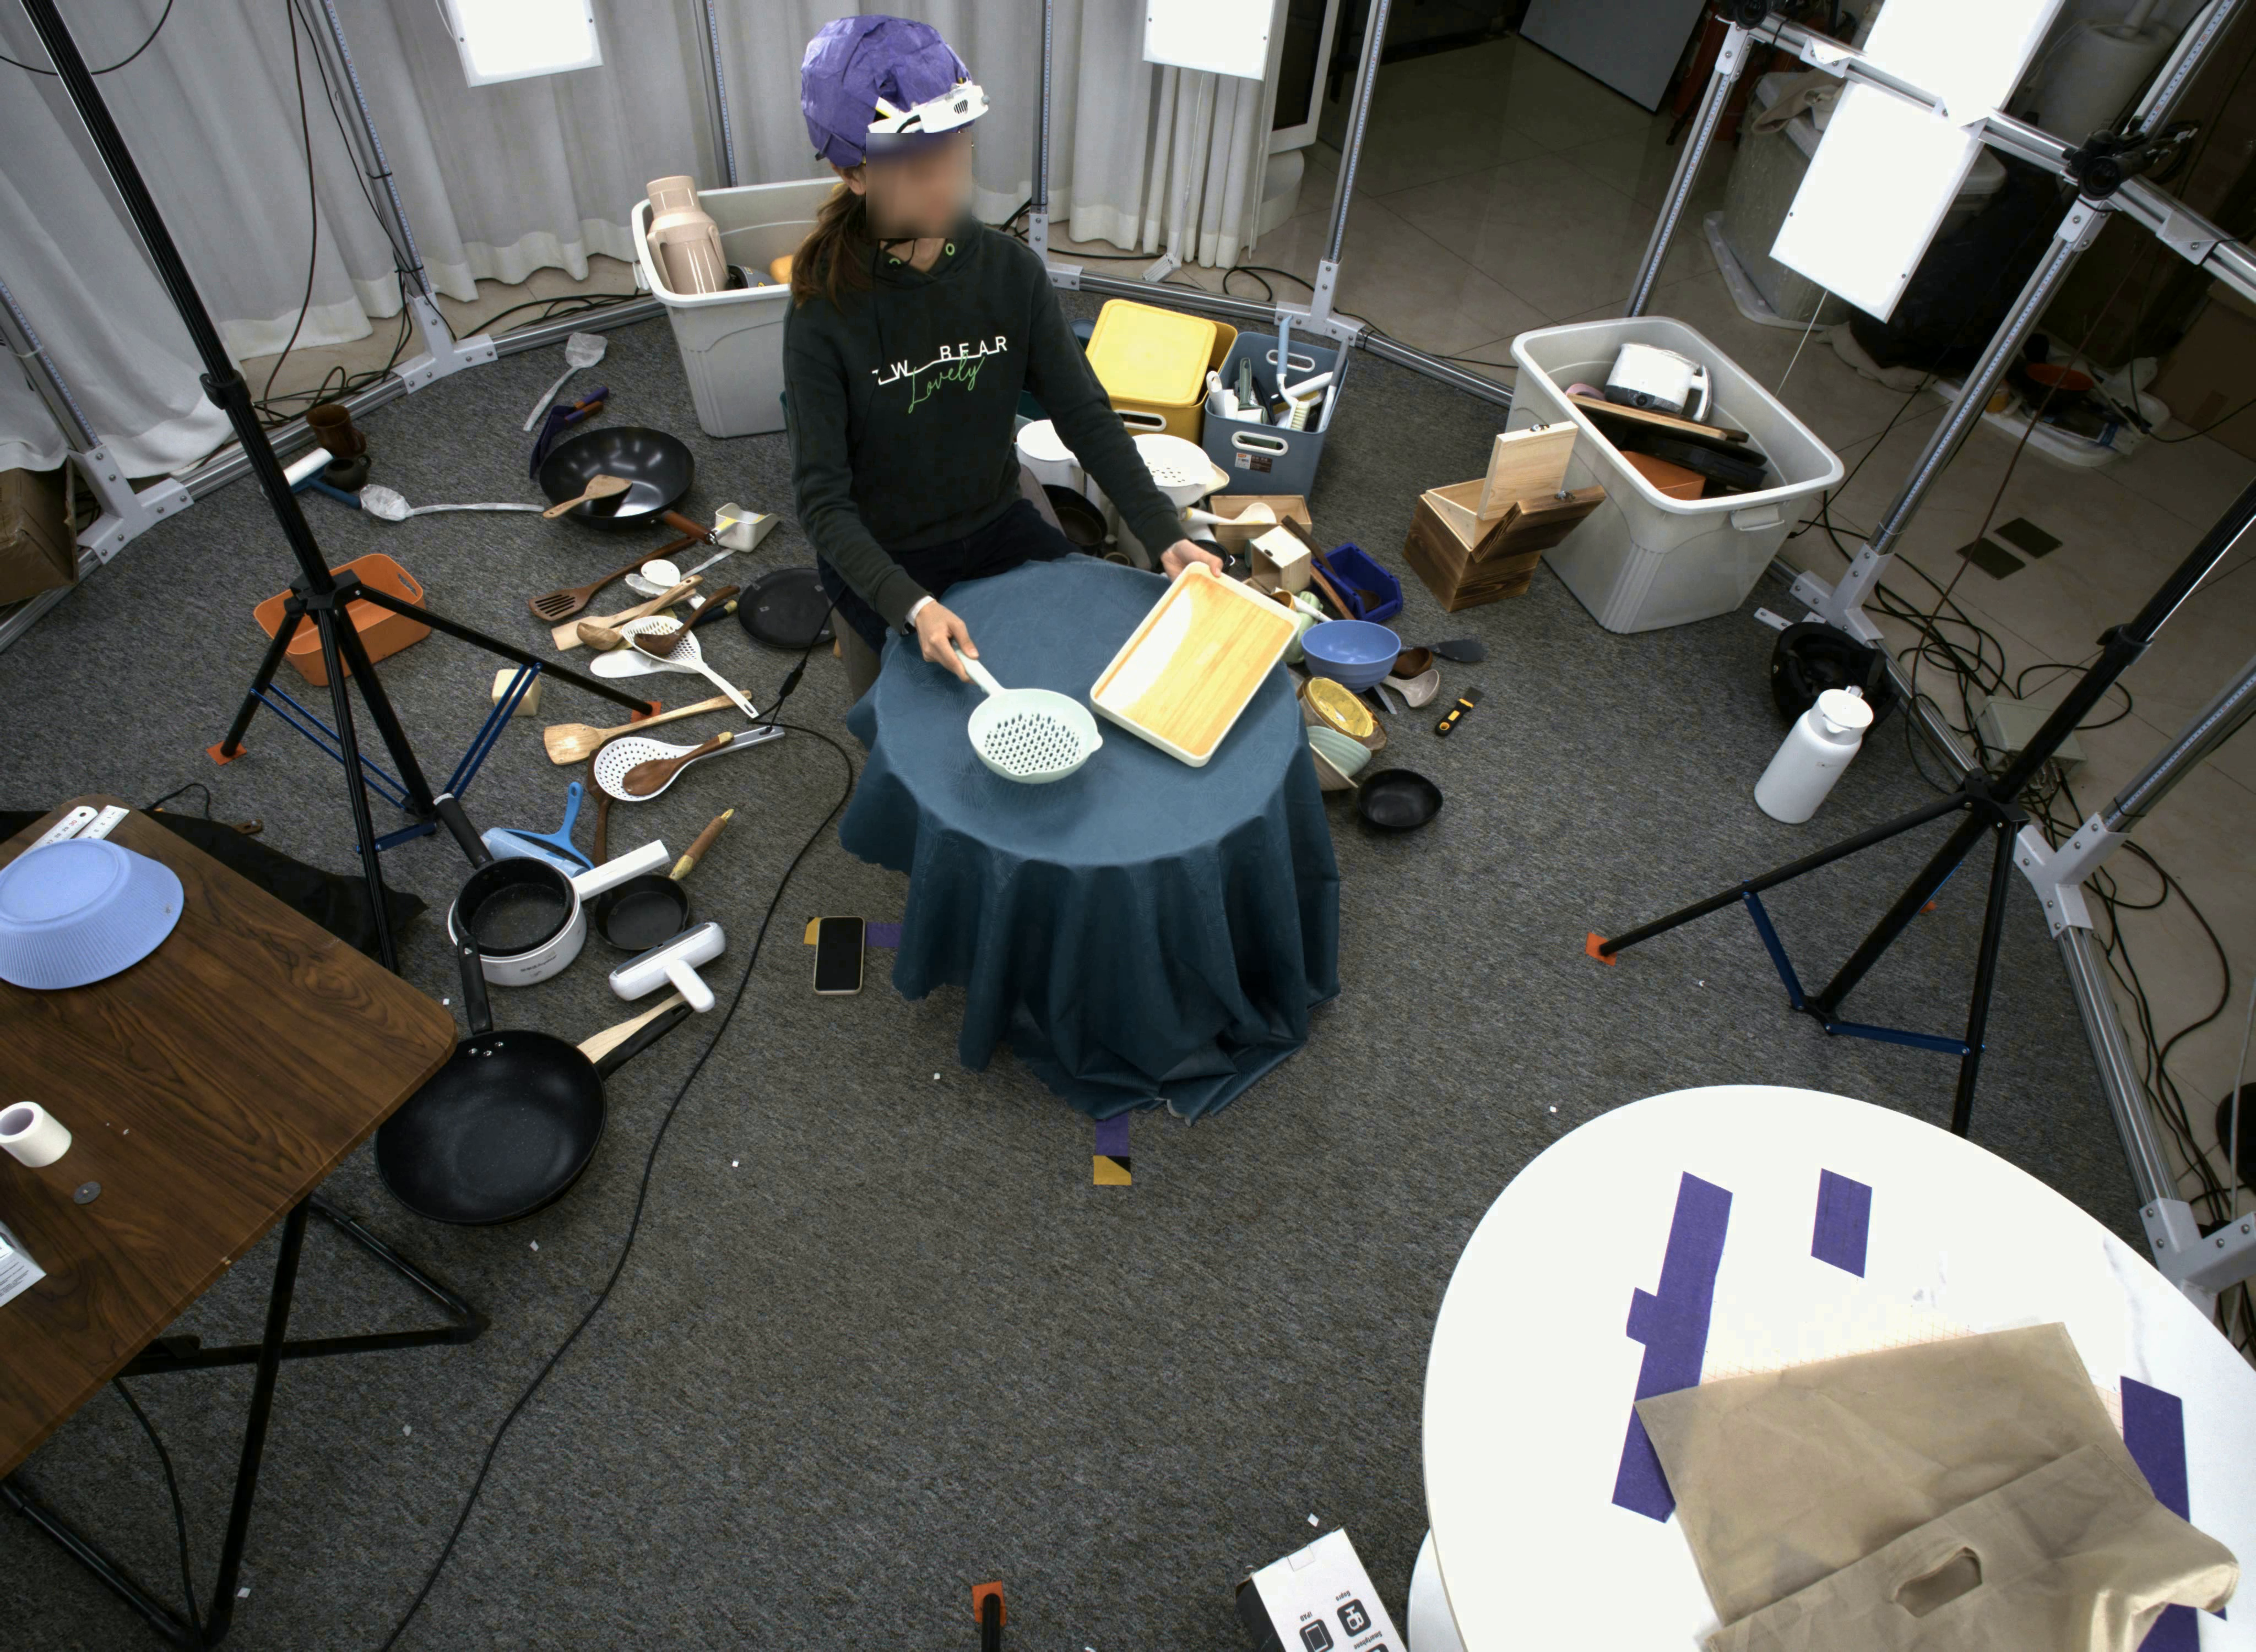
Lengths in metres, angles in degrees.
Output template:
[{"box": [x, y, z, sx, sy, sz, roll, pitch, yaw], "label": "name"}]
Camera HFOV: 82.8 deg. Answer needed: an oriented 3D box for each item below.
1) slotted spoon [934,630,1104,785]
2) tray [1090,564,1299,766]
[{"box": [-0.178, -0.178, 1.760, 0.170, 0.073, 0.366, -21, 56, -27], "label": "slotted spoon"}, {"box": [0.098, -0.235, 1.837, 0.193, 0.027, 0.304, 30, 61, 12], "label": "tray"}]
